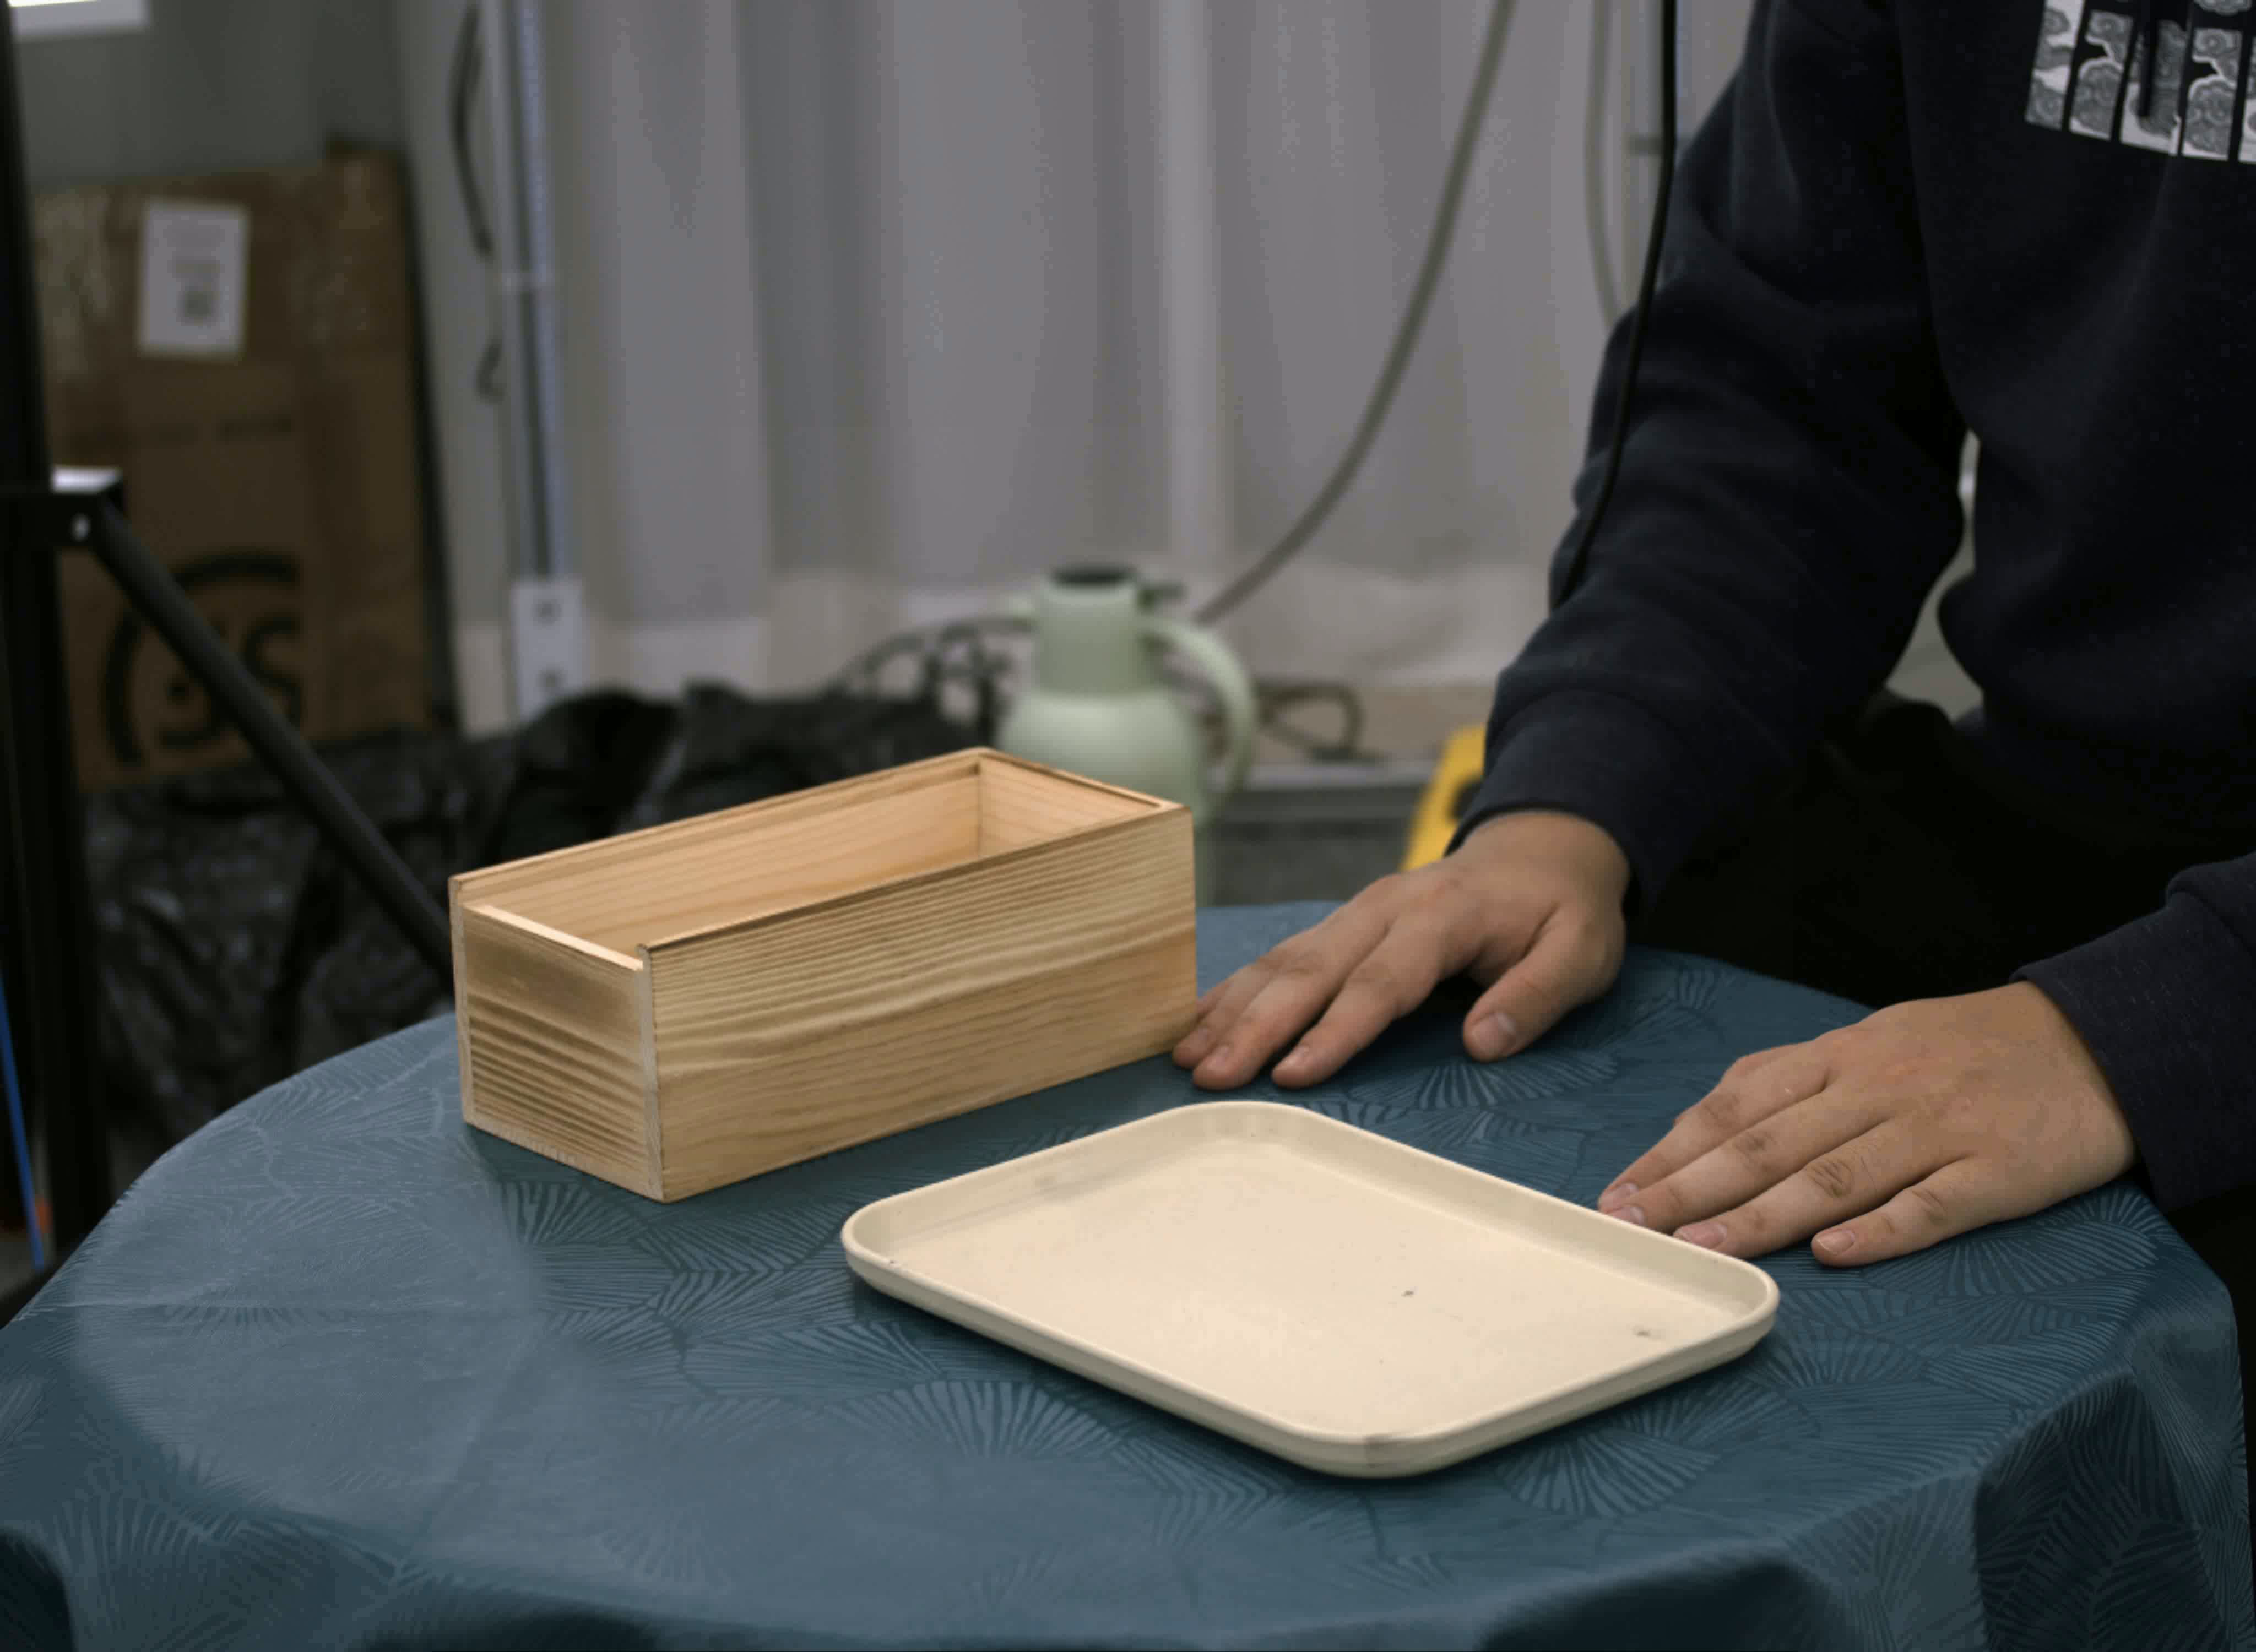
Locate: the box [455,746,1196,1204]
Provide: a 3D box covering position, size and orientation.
[{"bbox_3d":[-0.091,0.043,1.655,0.206,0.080,0.110,-15,20,-37],"label":"box"}]

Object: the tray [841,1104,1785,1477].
[{"bbox_3d":[0.048,0.126,1.456,0.167,0.017,0.245,-14,19,-37],"label":"tray"}]
